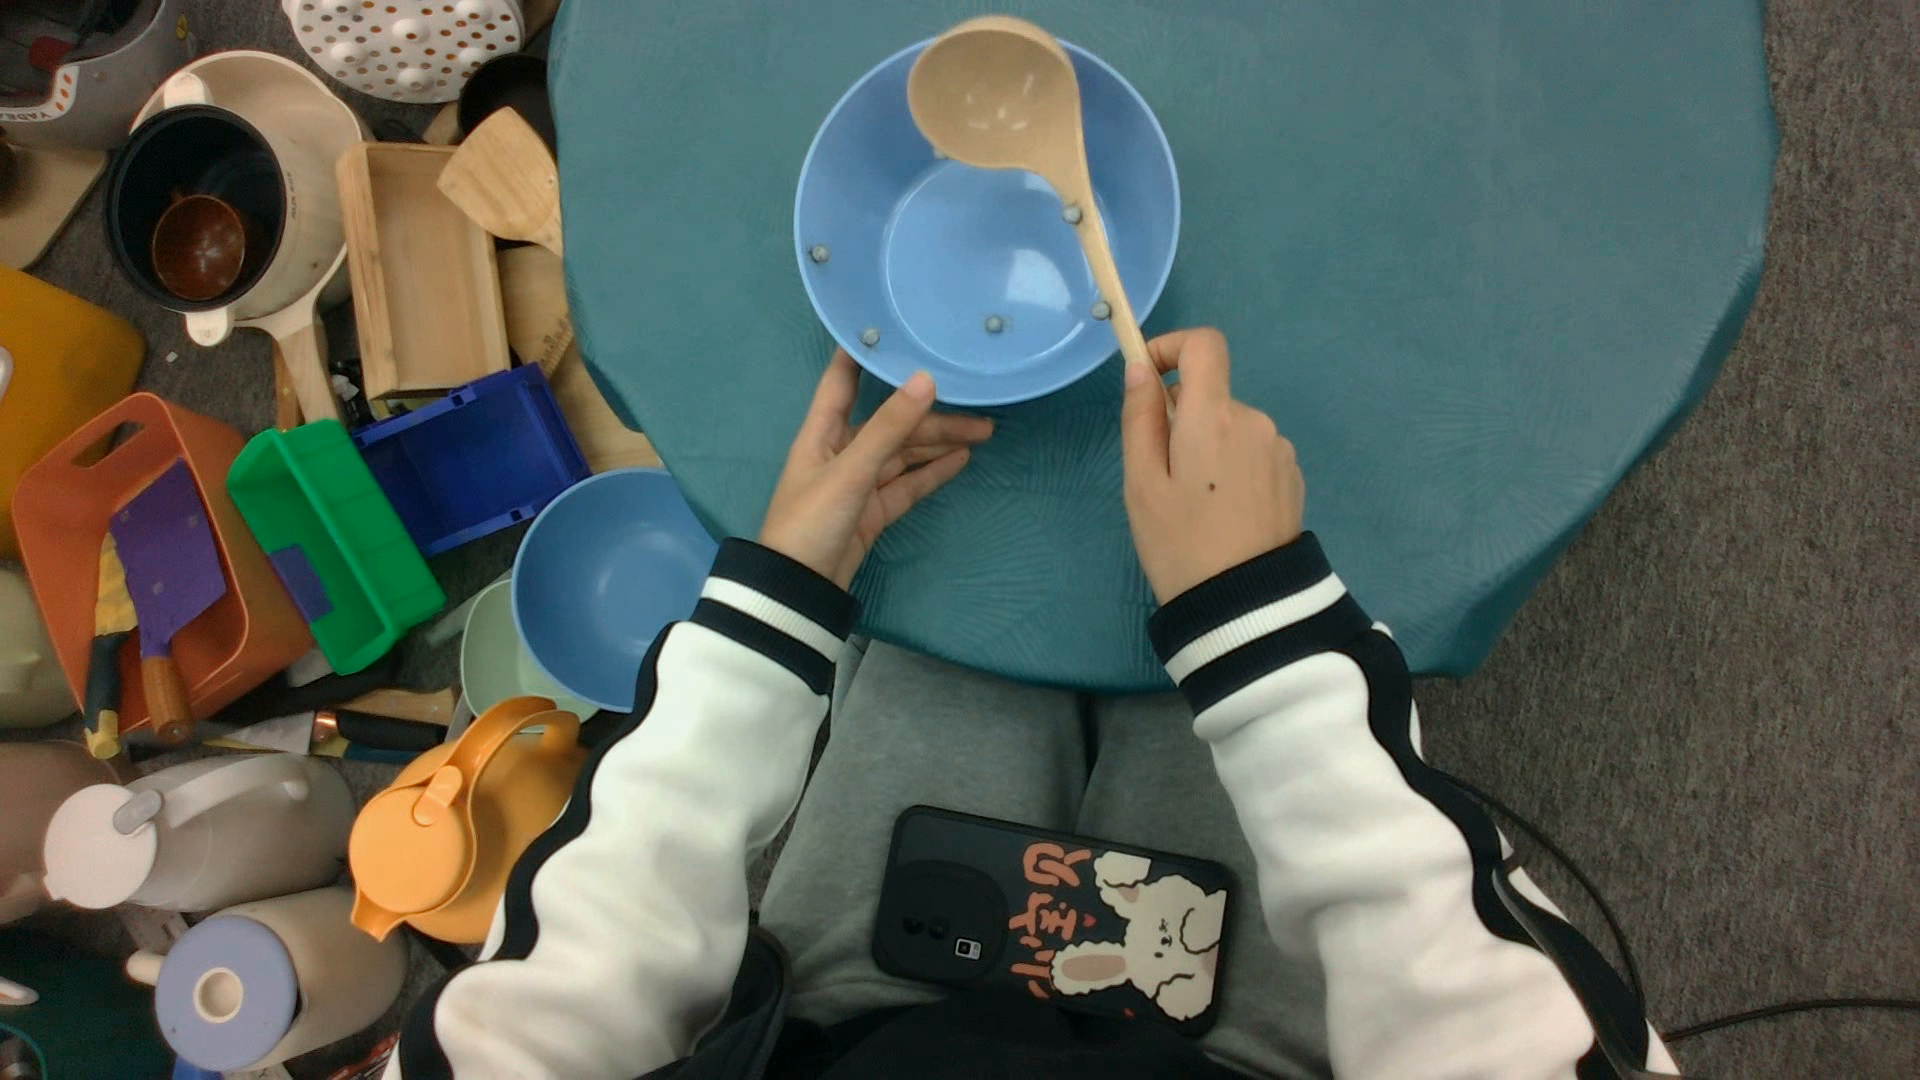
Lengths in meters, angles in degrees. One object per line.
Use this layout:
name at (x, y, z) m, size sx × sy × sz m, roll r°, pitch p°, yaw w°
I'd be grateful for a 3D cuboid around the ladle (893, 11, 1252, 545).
ladle at (0.044, -0.109, 0.573) m, size 0.072 × 0.073 × 0.255 m, roll -38°, pitch 66°, yaw 39°

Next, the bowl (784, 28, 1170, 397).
bowl at (0.010, -0.147, 0.654) m, size 0.176 × 0.070 × 0.176 m, roll -1°, pitch 82°, yaw 7°
